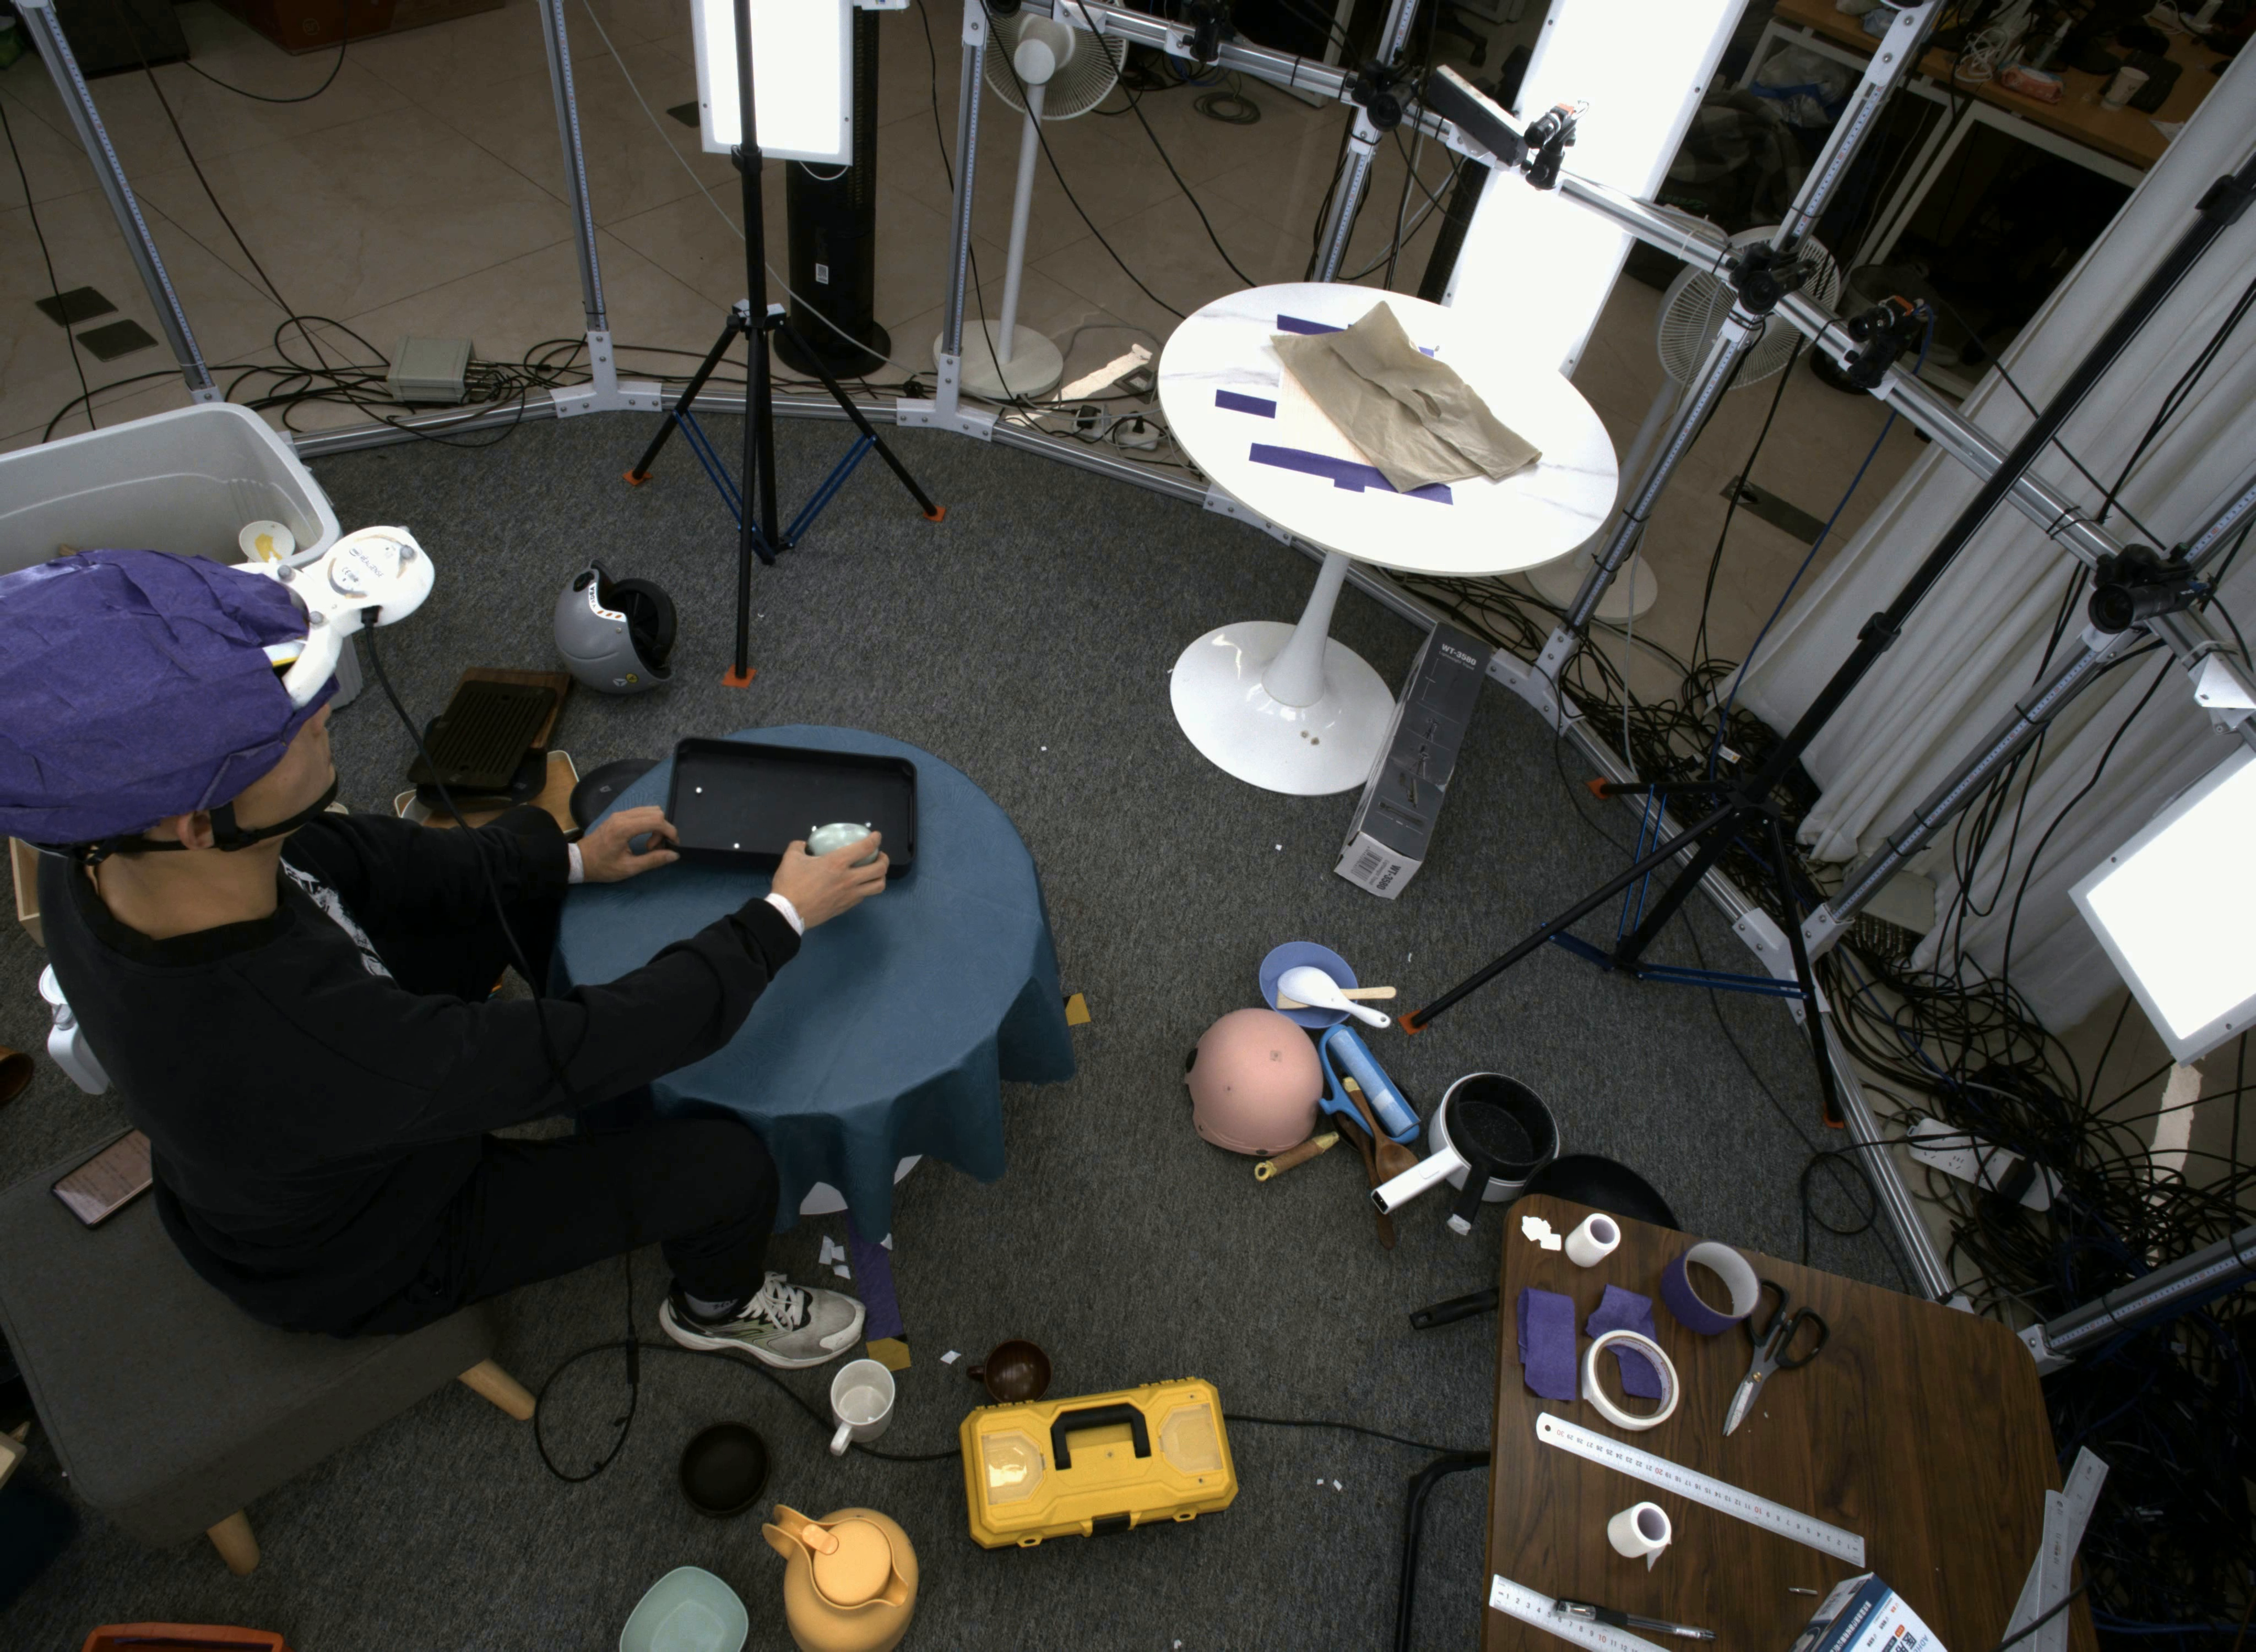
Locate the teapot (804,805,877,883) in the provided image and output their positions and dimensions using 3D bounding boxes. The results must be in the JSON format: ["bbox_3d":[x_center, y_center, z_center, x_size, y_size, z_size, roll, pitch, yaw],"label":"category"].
[{"bbox_3d":[-0.352,0.027,1.586,0.089,0.143,0.074,2,73,-22],"label":"teapot"}]

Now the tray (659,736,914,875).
[{"bbox_3d":[-0.443,-0.027,1.692,0.320,0.037,0.180,4,53,-20],"label":"tray"}]
